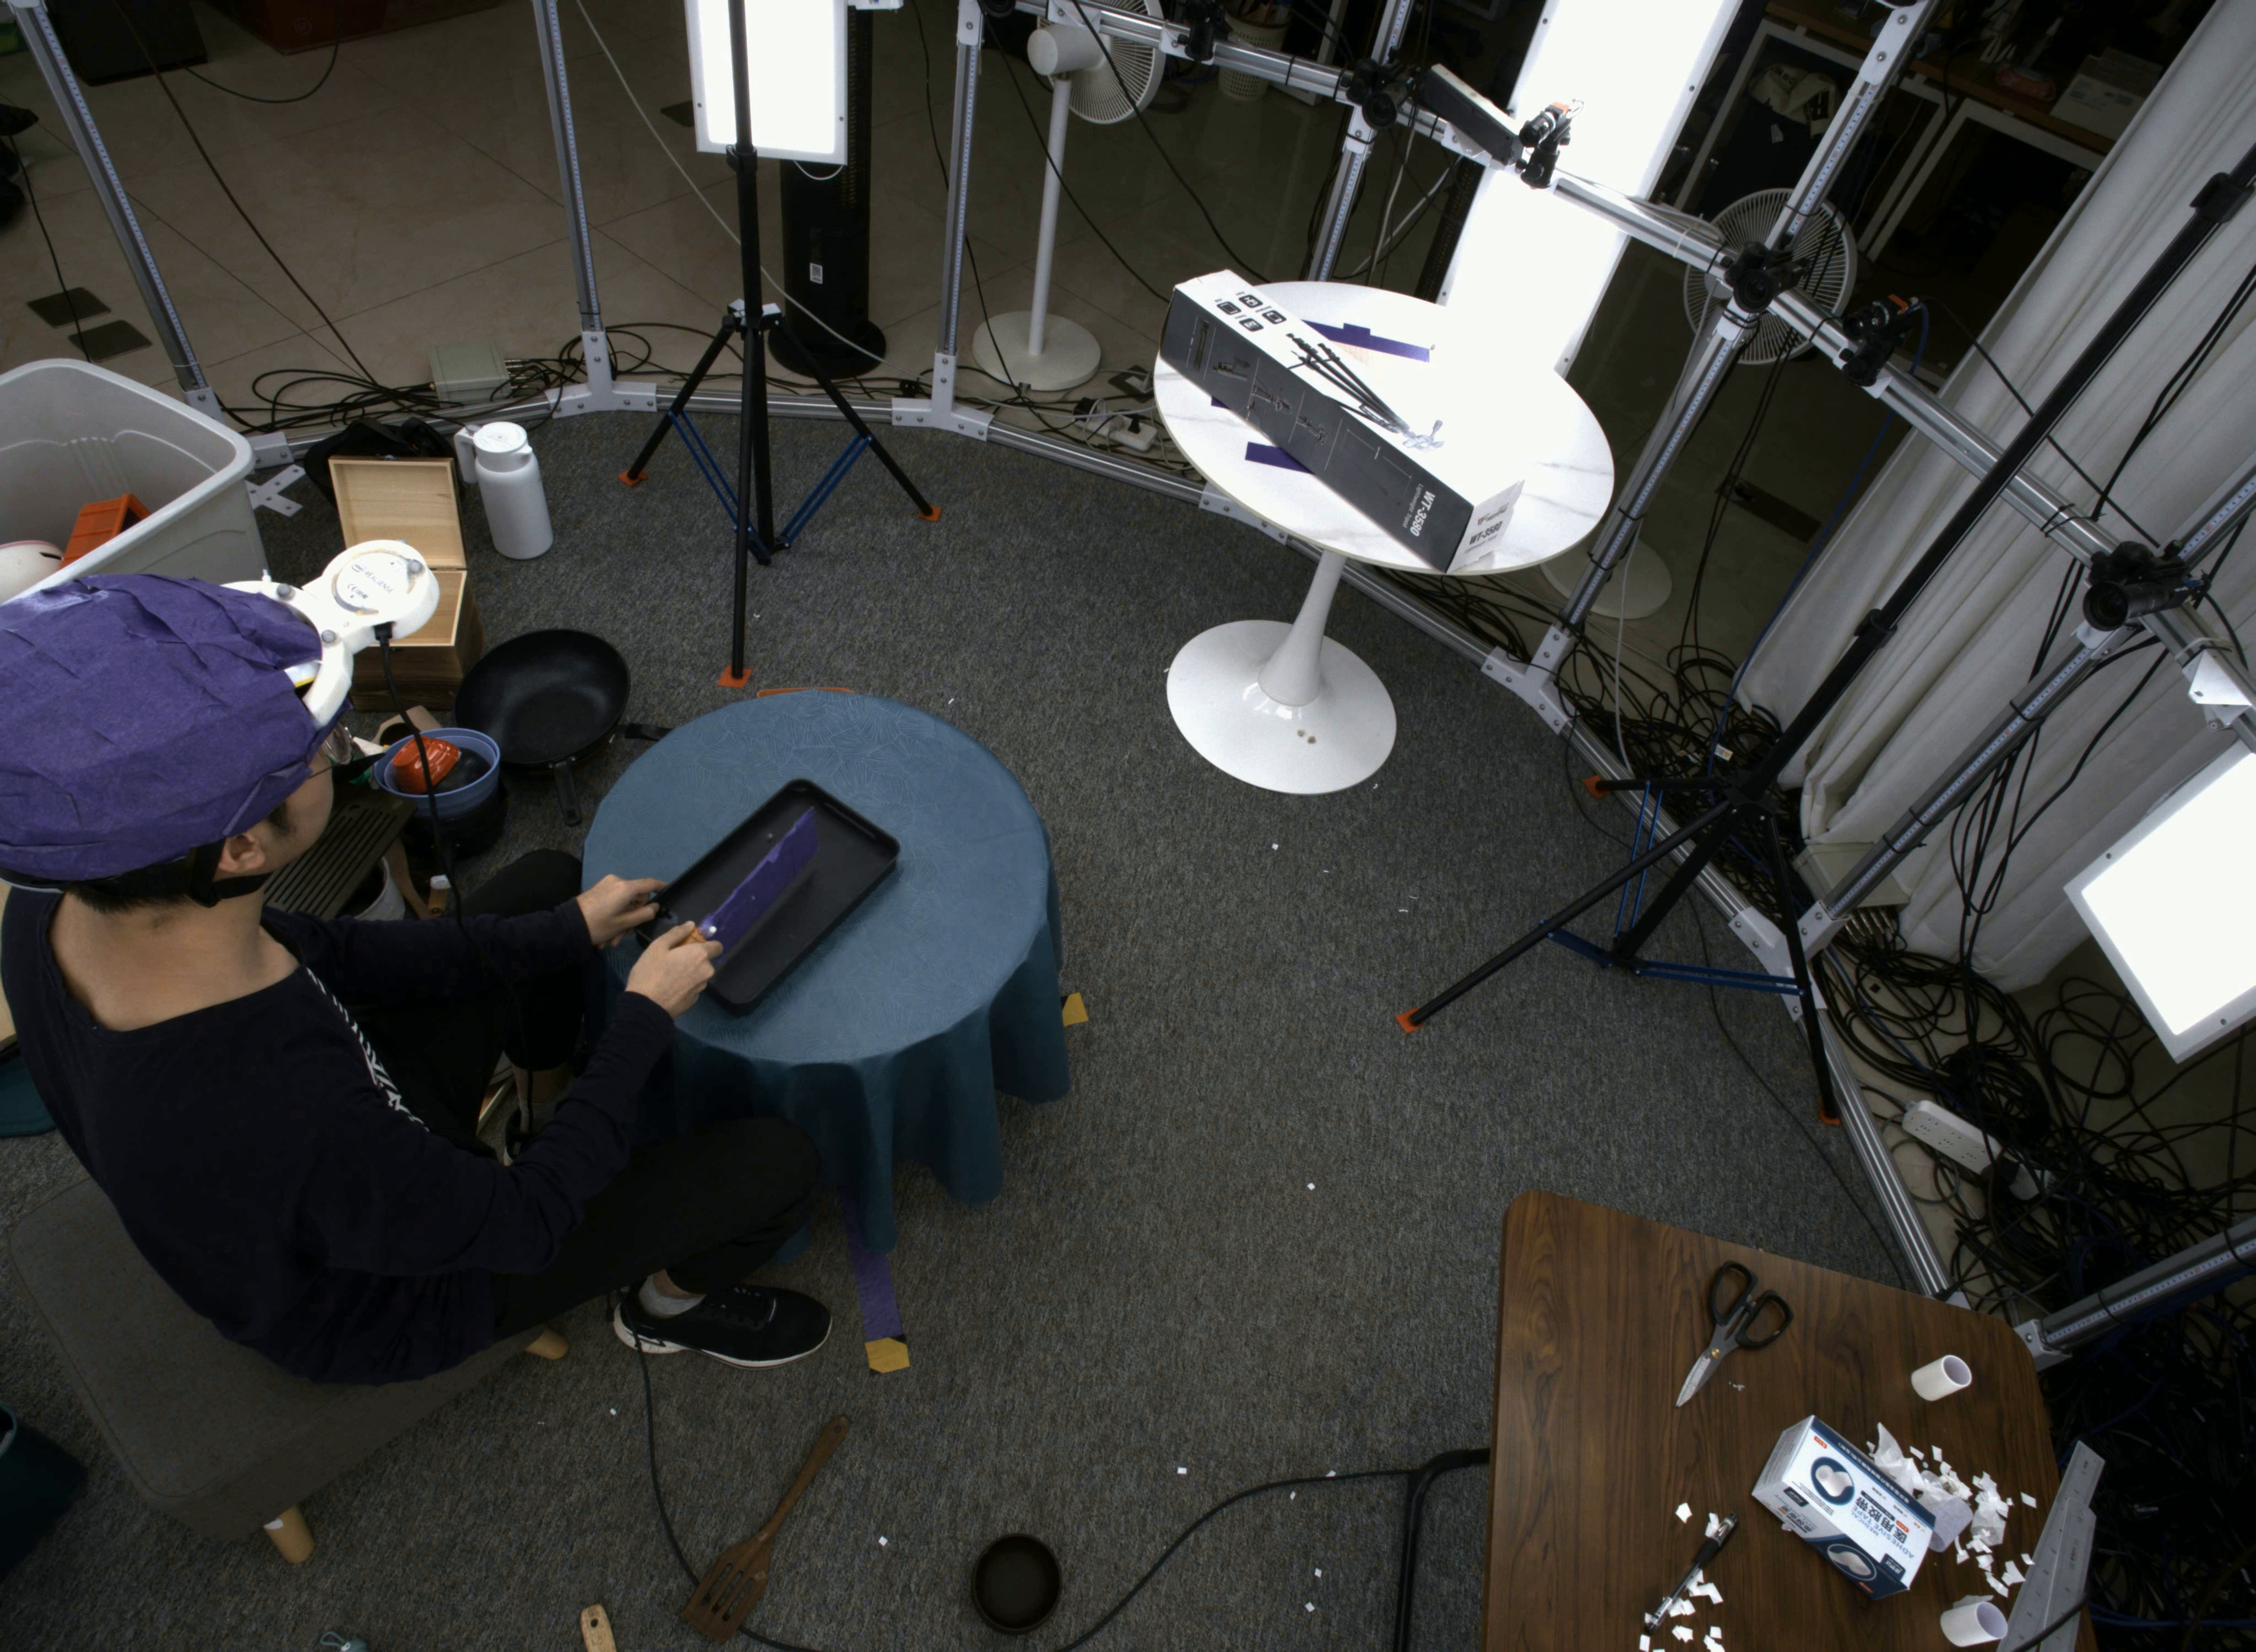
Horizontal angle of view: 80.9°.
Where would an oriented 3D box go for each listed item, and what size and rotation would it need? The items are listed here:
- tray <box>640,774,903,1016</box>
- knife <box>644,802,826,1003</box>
[{"bbox_3d":[-0.445,0.079,1.637,0.182,0.037,0.317,34,52,6],"label":"tray"},{"bbox_3d":[-0.458,0.103,1.547,0.031,0.106,0.314,27,53,14],"label":"knife"}]
